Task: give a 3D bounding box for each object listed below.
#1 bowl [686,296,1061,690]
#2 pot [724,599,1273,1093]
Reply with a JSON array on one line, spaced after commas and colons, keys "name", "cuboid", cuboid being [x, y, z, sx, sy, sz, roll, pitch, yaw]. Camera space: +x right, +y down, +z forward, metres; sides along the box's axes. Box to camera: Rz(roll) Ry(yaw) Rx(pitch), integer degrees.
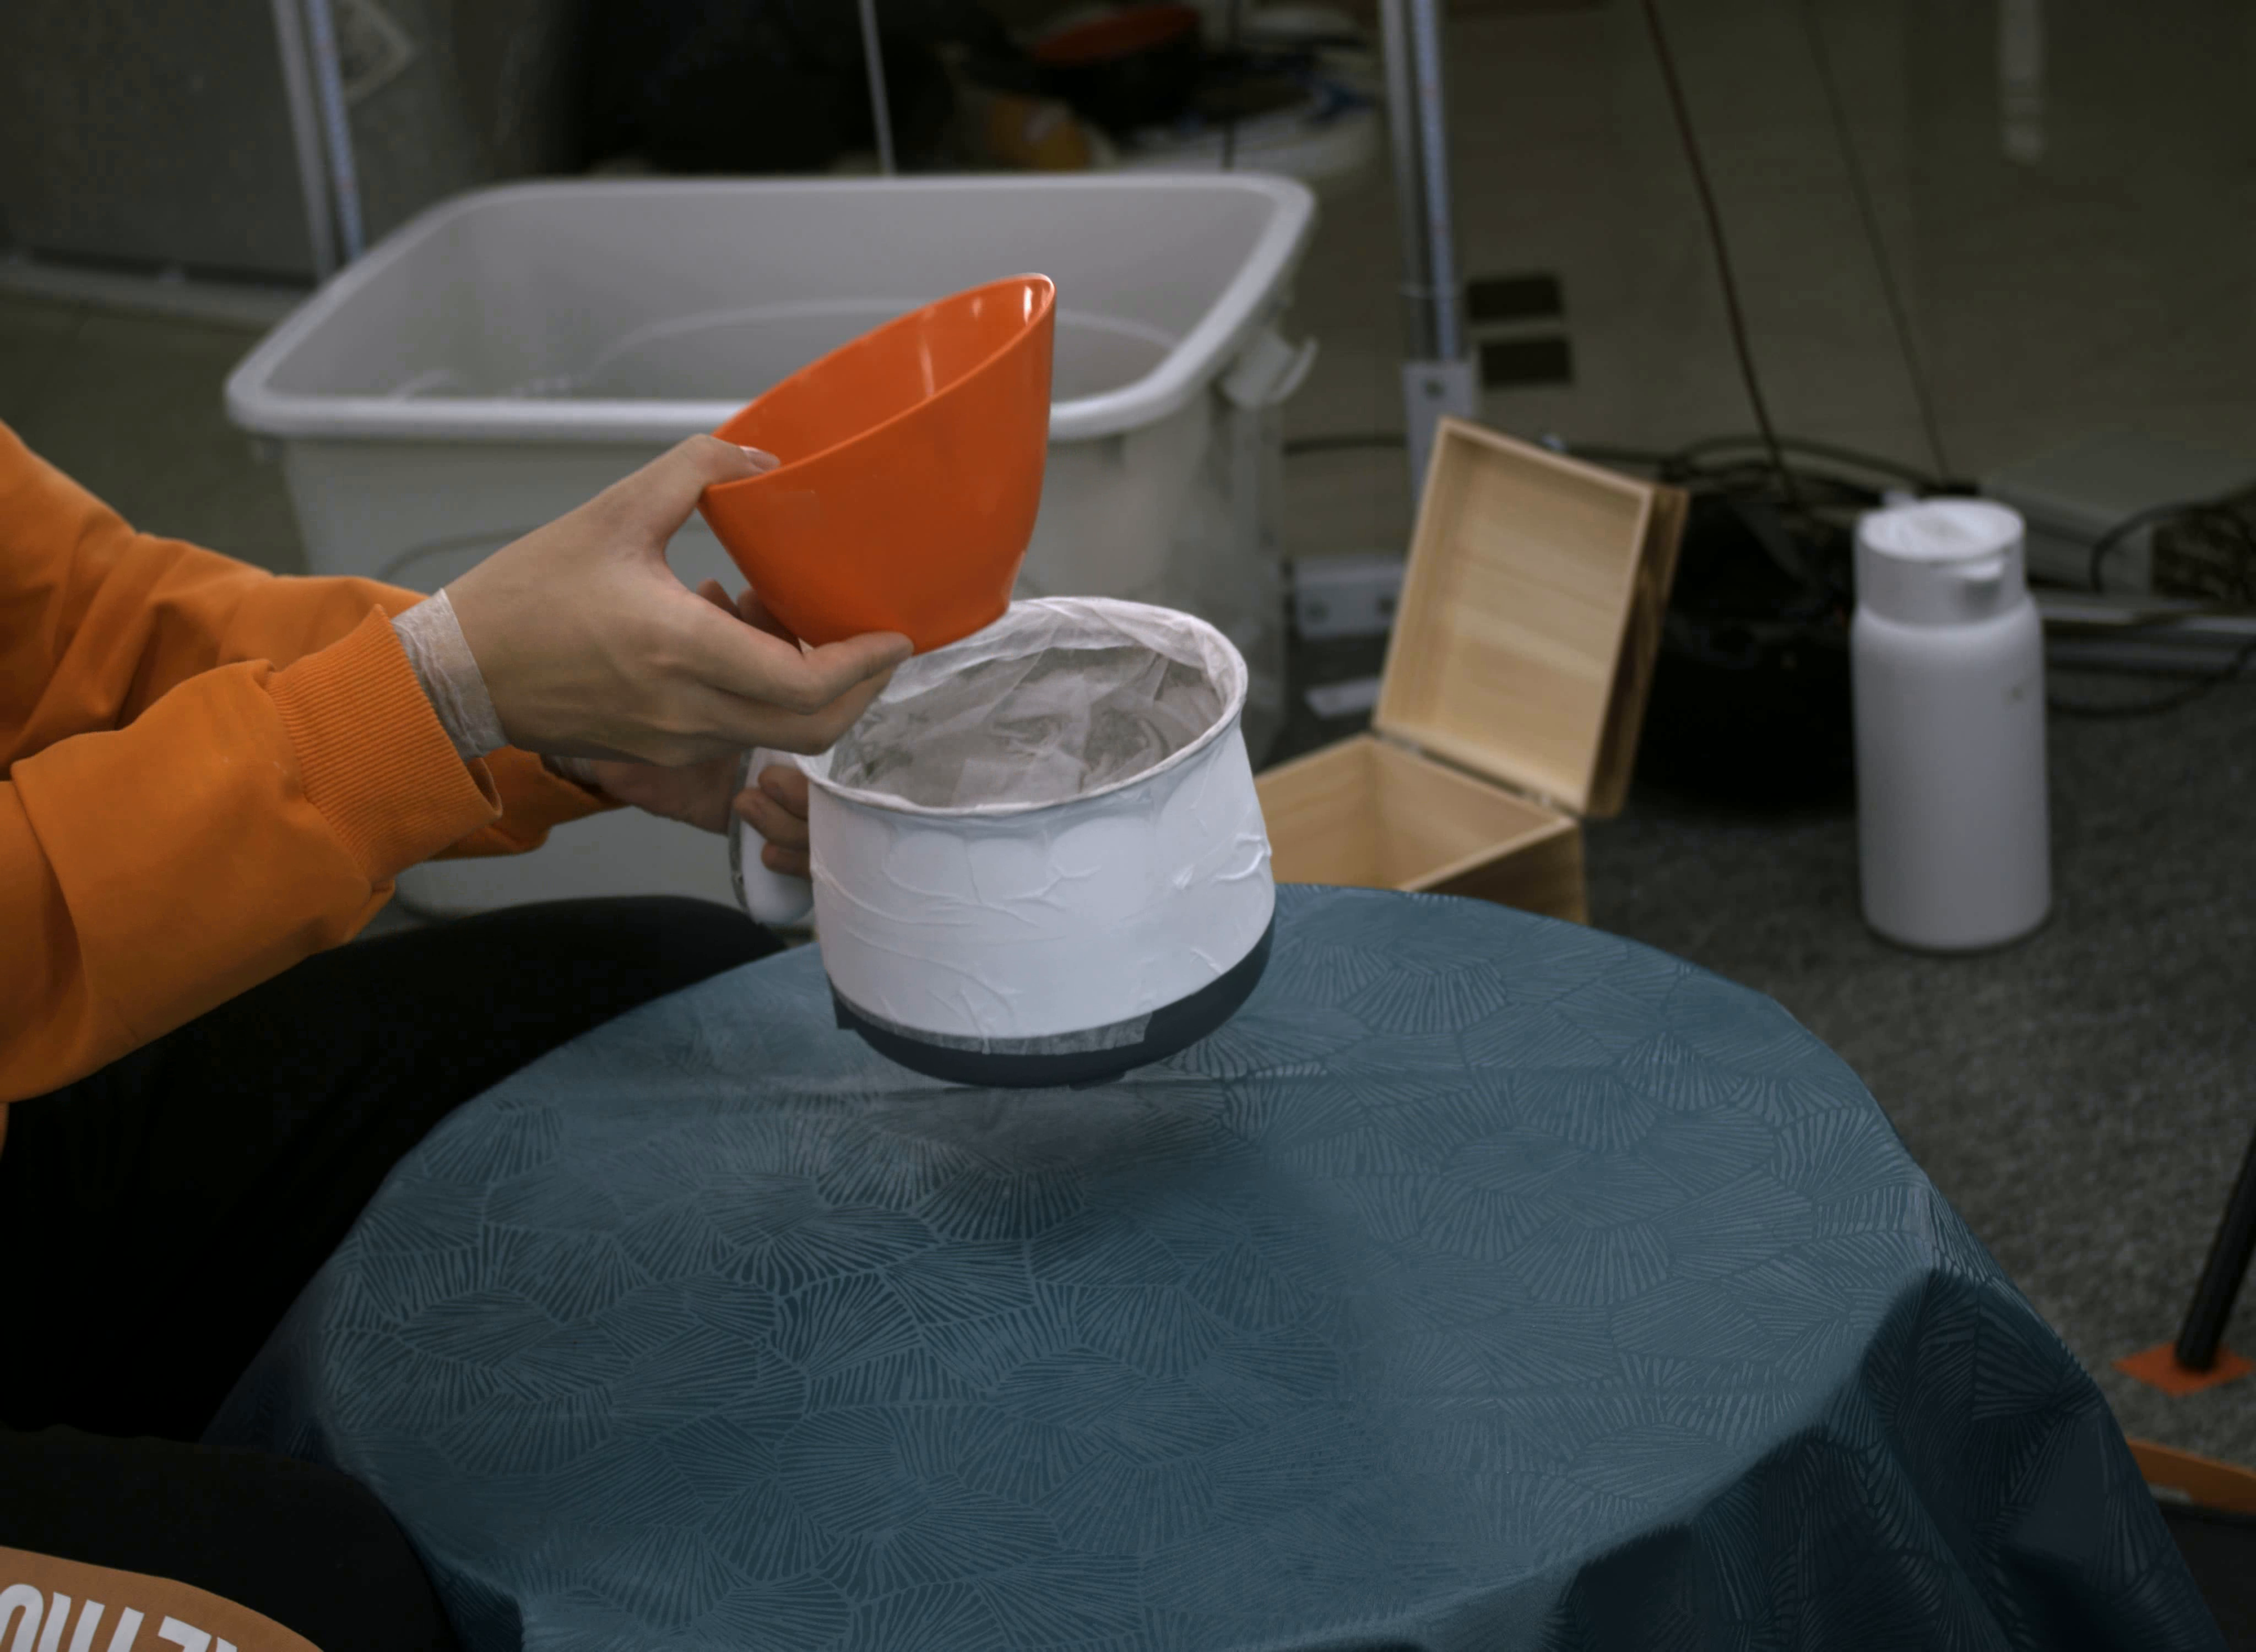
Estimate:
[{"name": "bowl", "cuboid": [-0.077, -0.112, 1.999, 0.148, 0.106, 0.146, -18, 14, 5]}, {"name": "pot", "cuboid": [-0.059, 0.006, 2.180, 0.232, 0.139, 0.176, 10, 33, 29]}]
